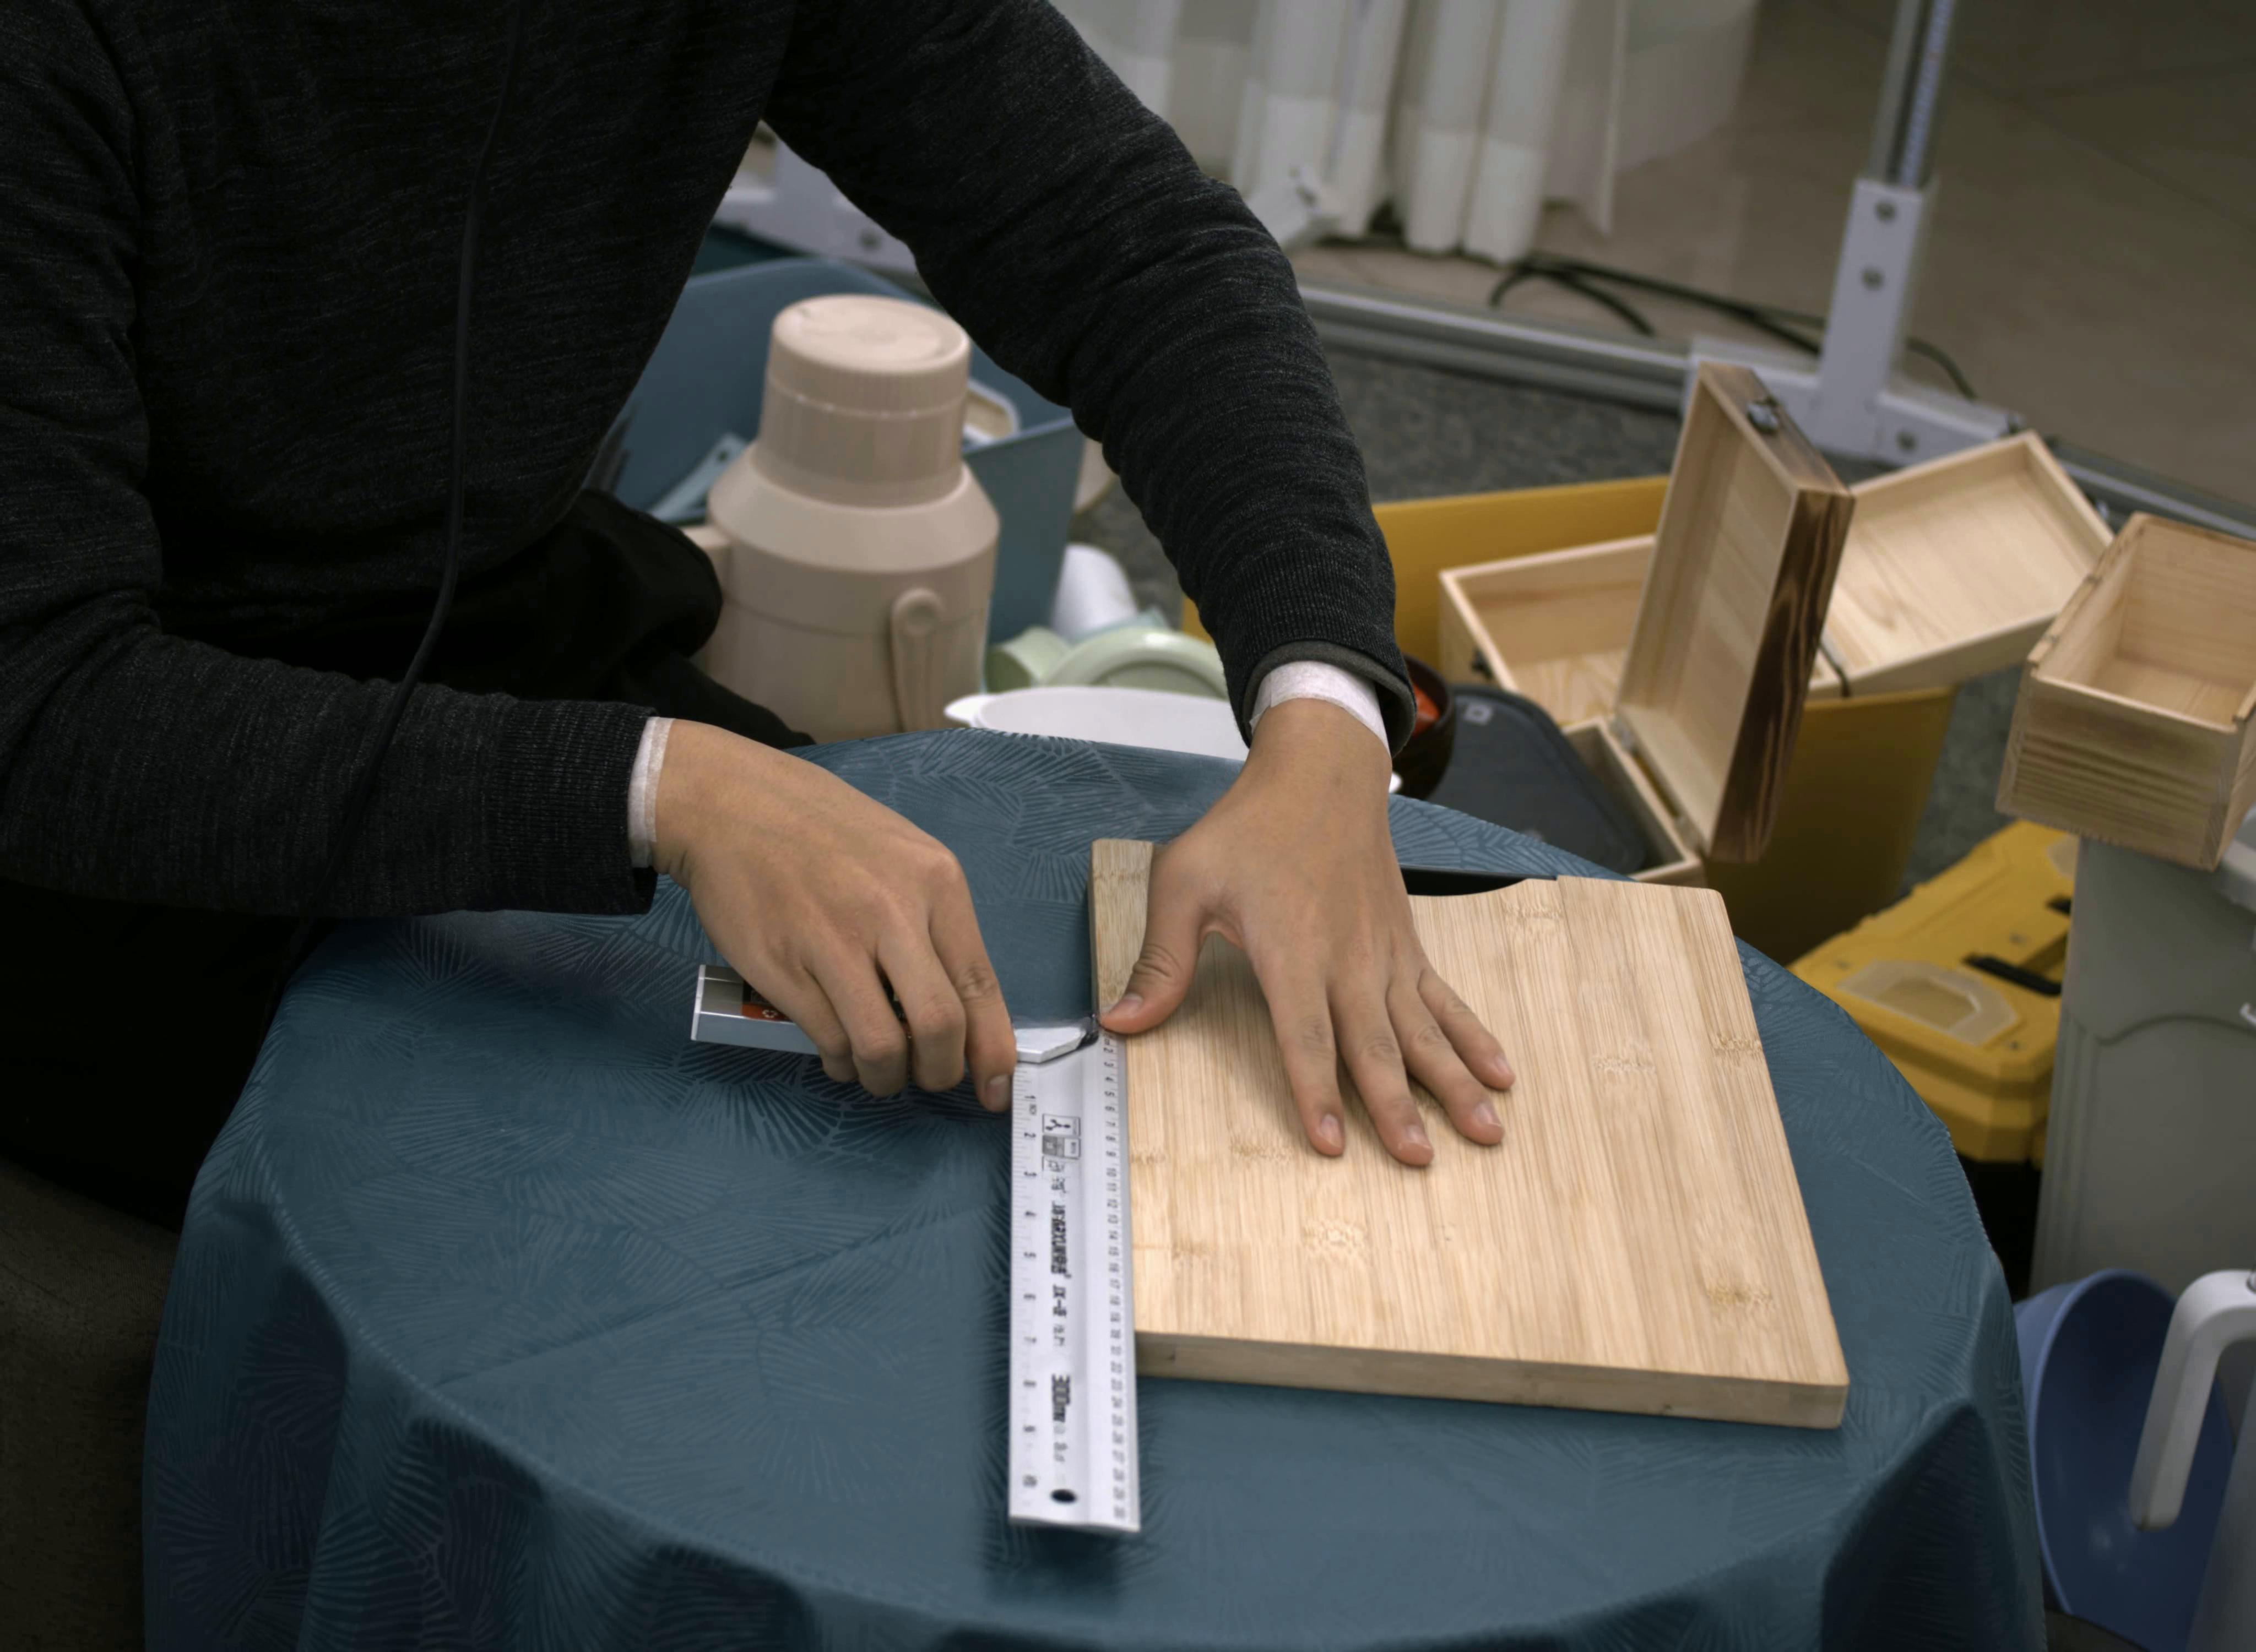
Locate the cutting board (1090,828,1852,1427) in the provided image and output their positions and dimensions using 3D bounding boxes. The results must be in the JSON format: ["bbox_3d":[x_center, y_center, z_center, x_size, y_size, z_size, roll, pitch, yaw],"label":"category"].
[{"bbox_3d":[0.109,0.098,1.859,0.250,0.023,0.351,5,27,-5],"label":"cutting board"}]

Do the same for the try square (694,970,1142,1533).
[{"bbox_3d":[-0.072,0.133,1.725,0.152,0.016,0.315,6,27,-3],"label":"try square"}]
